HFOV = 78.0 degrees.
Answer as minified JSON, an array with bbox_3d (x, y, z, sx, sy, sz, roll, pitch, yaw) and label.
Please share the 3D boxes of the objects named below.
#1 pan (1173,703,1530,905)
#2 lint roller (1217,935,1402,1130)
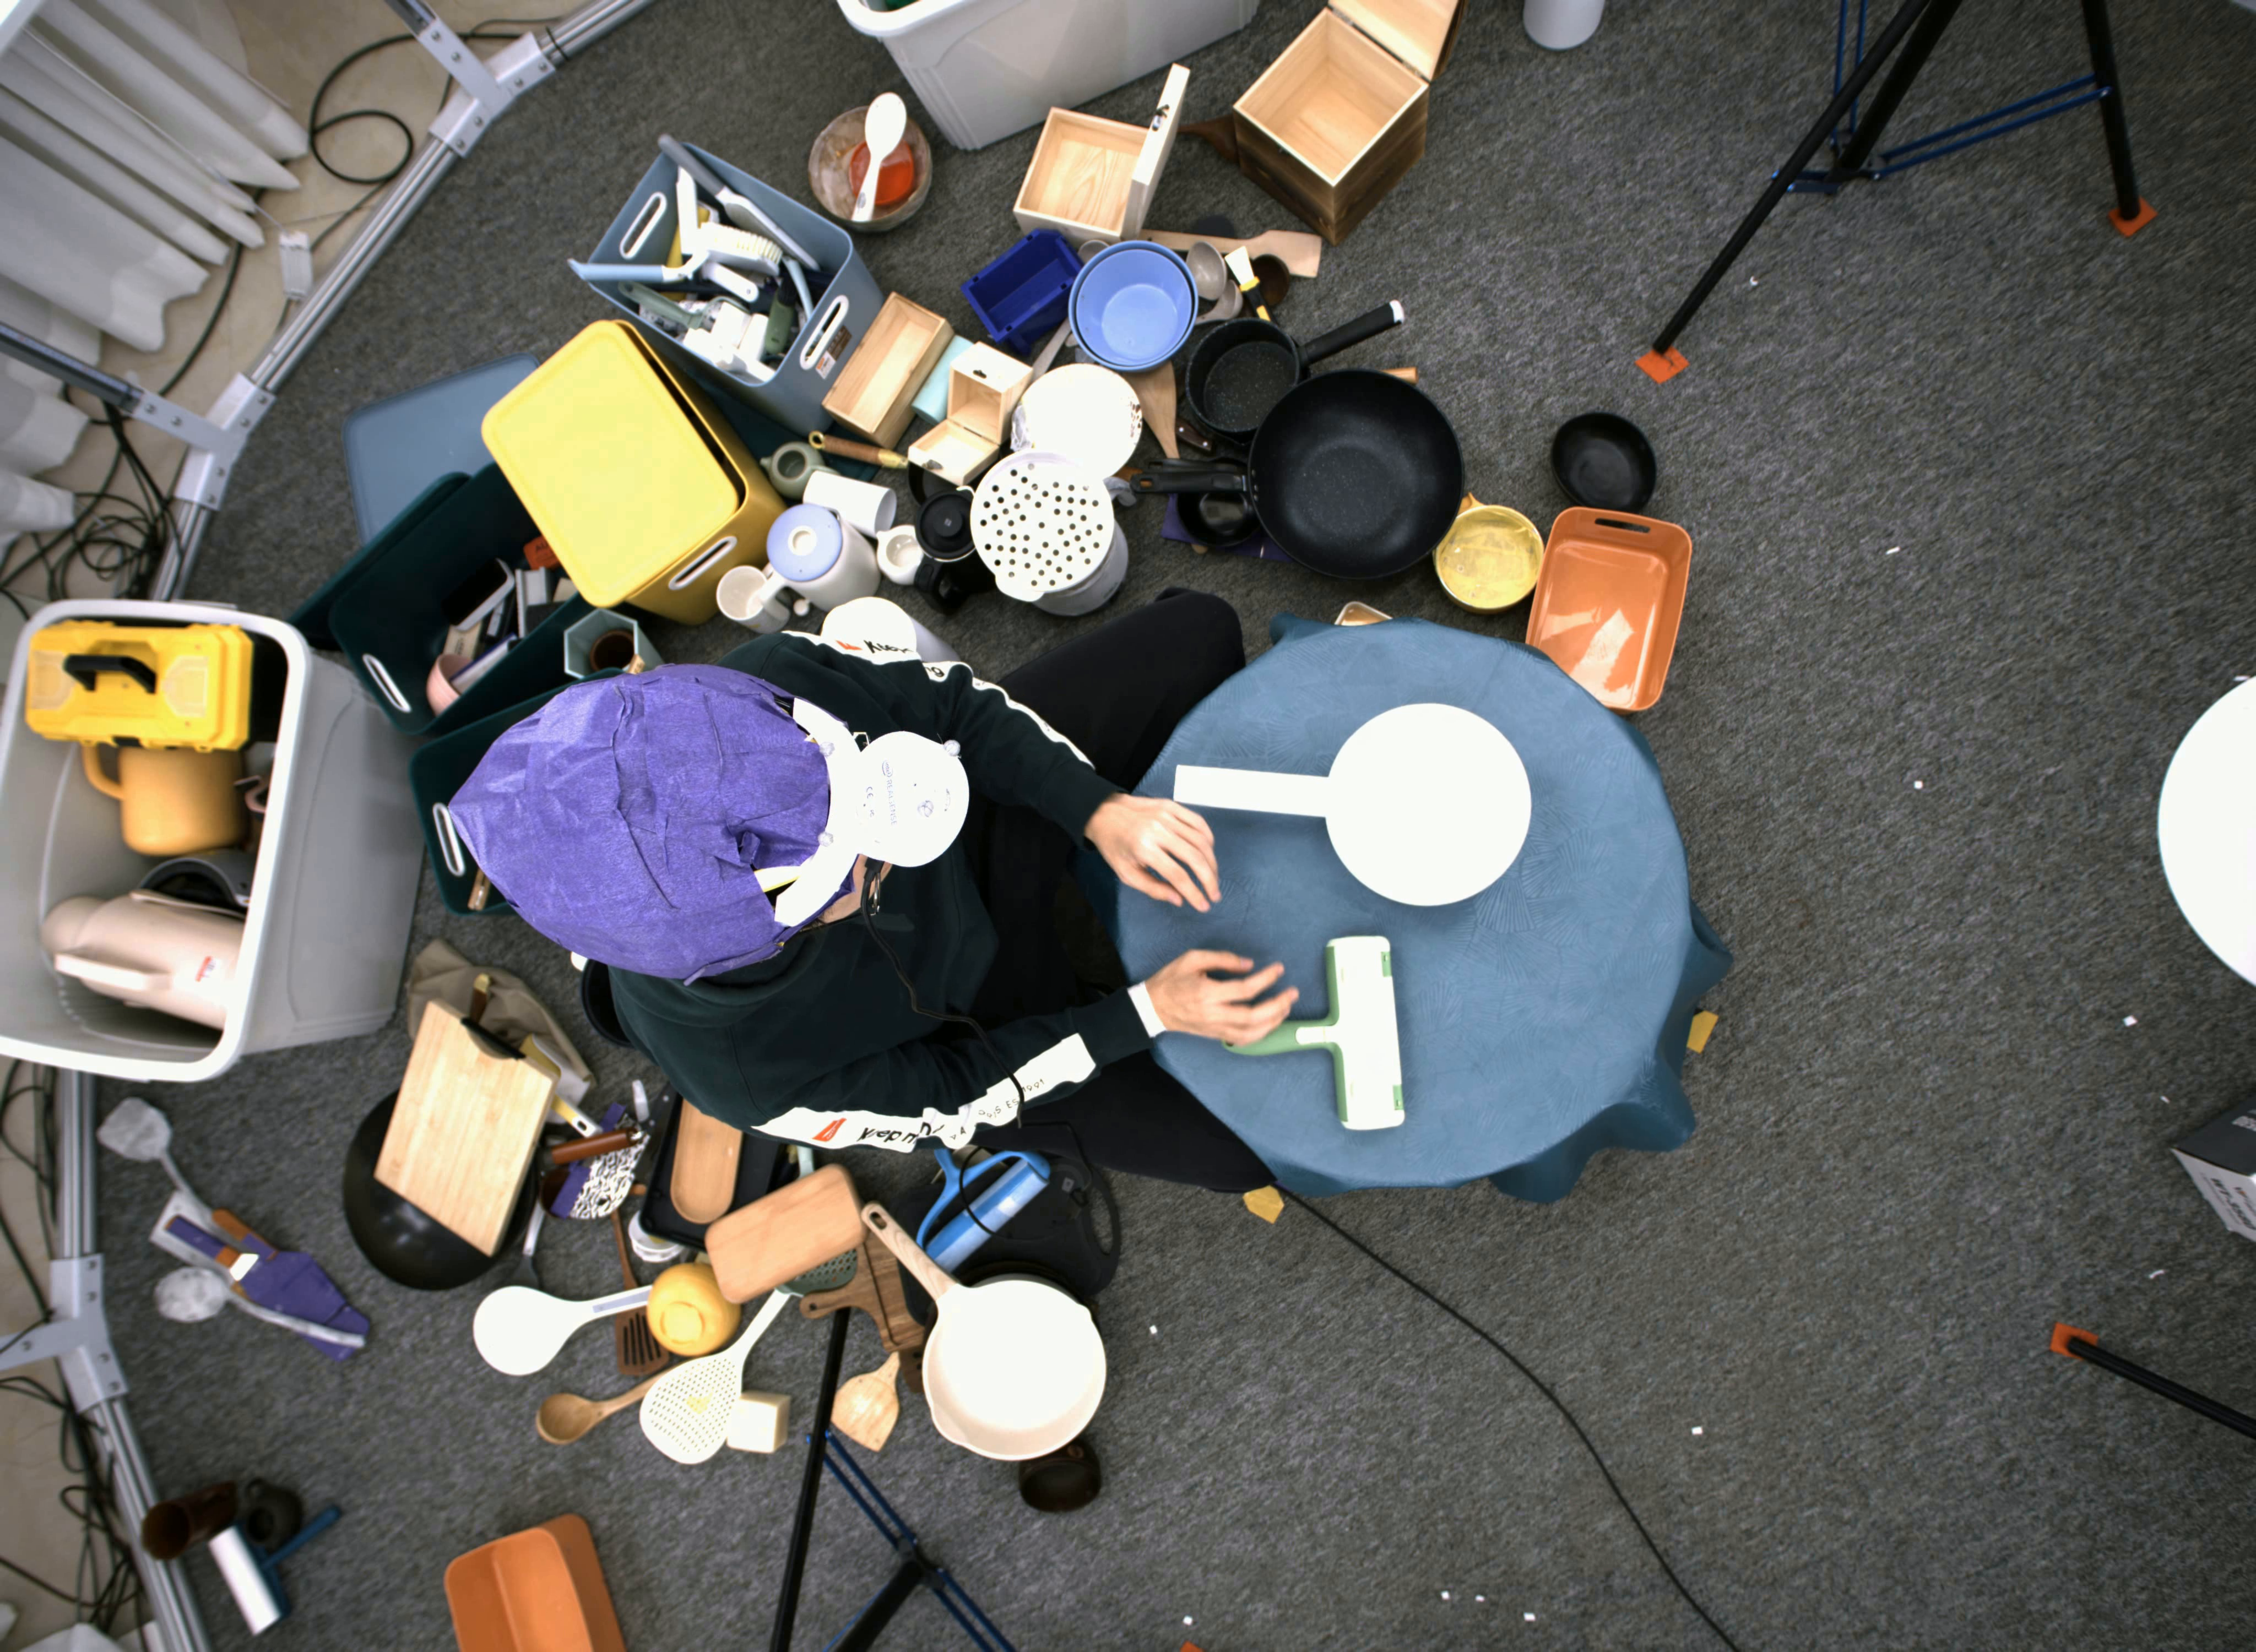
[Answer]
[{"bbox_3d":[0.227,-0.027,1.420,0.356,0.102,0.201,5,89,11],"label":"pan"},{"bbox_3d":[0.183,0.215,1.425,0.184,0.082,0.198,-4,86,4],"label":"lint roller"}]
